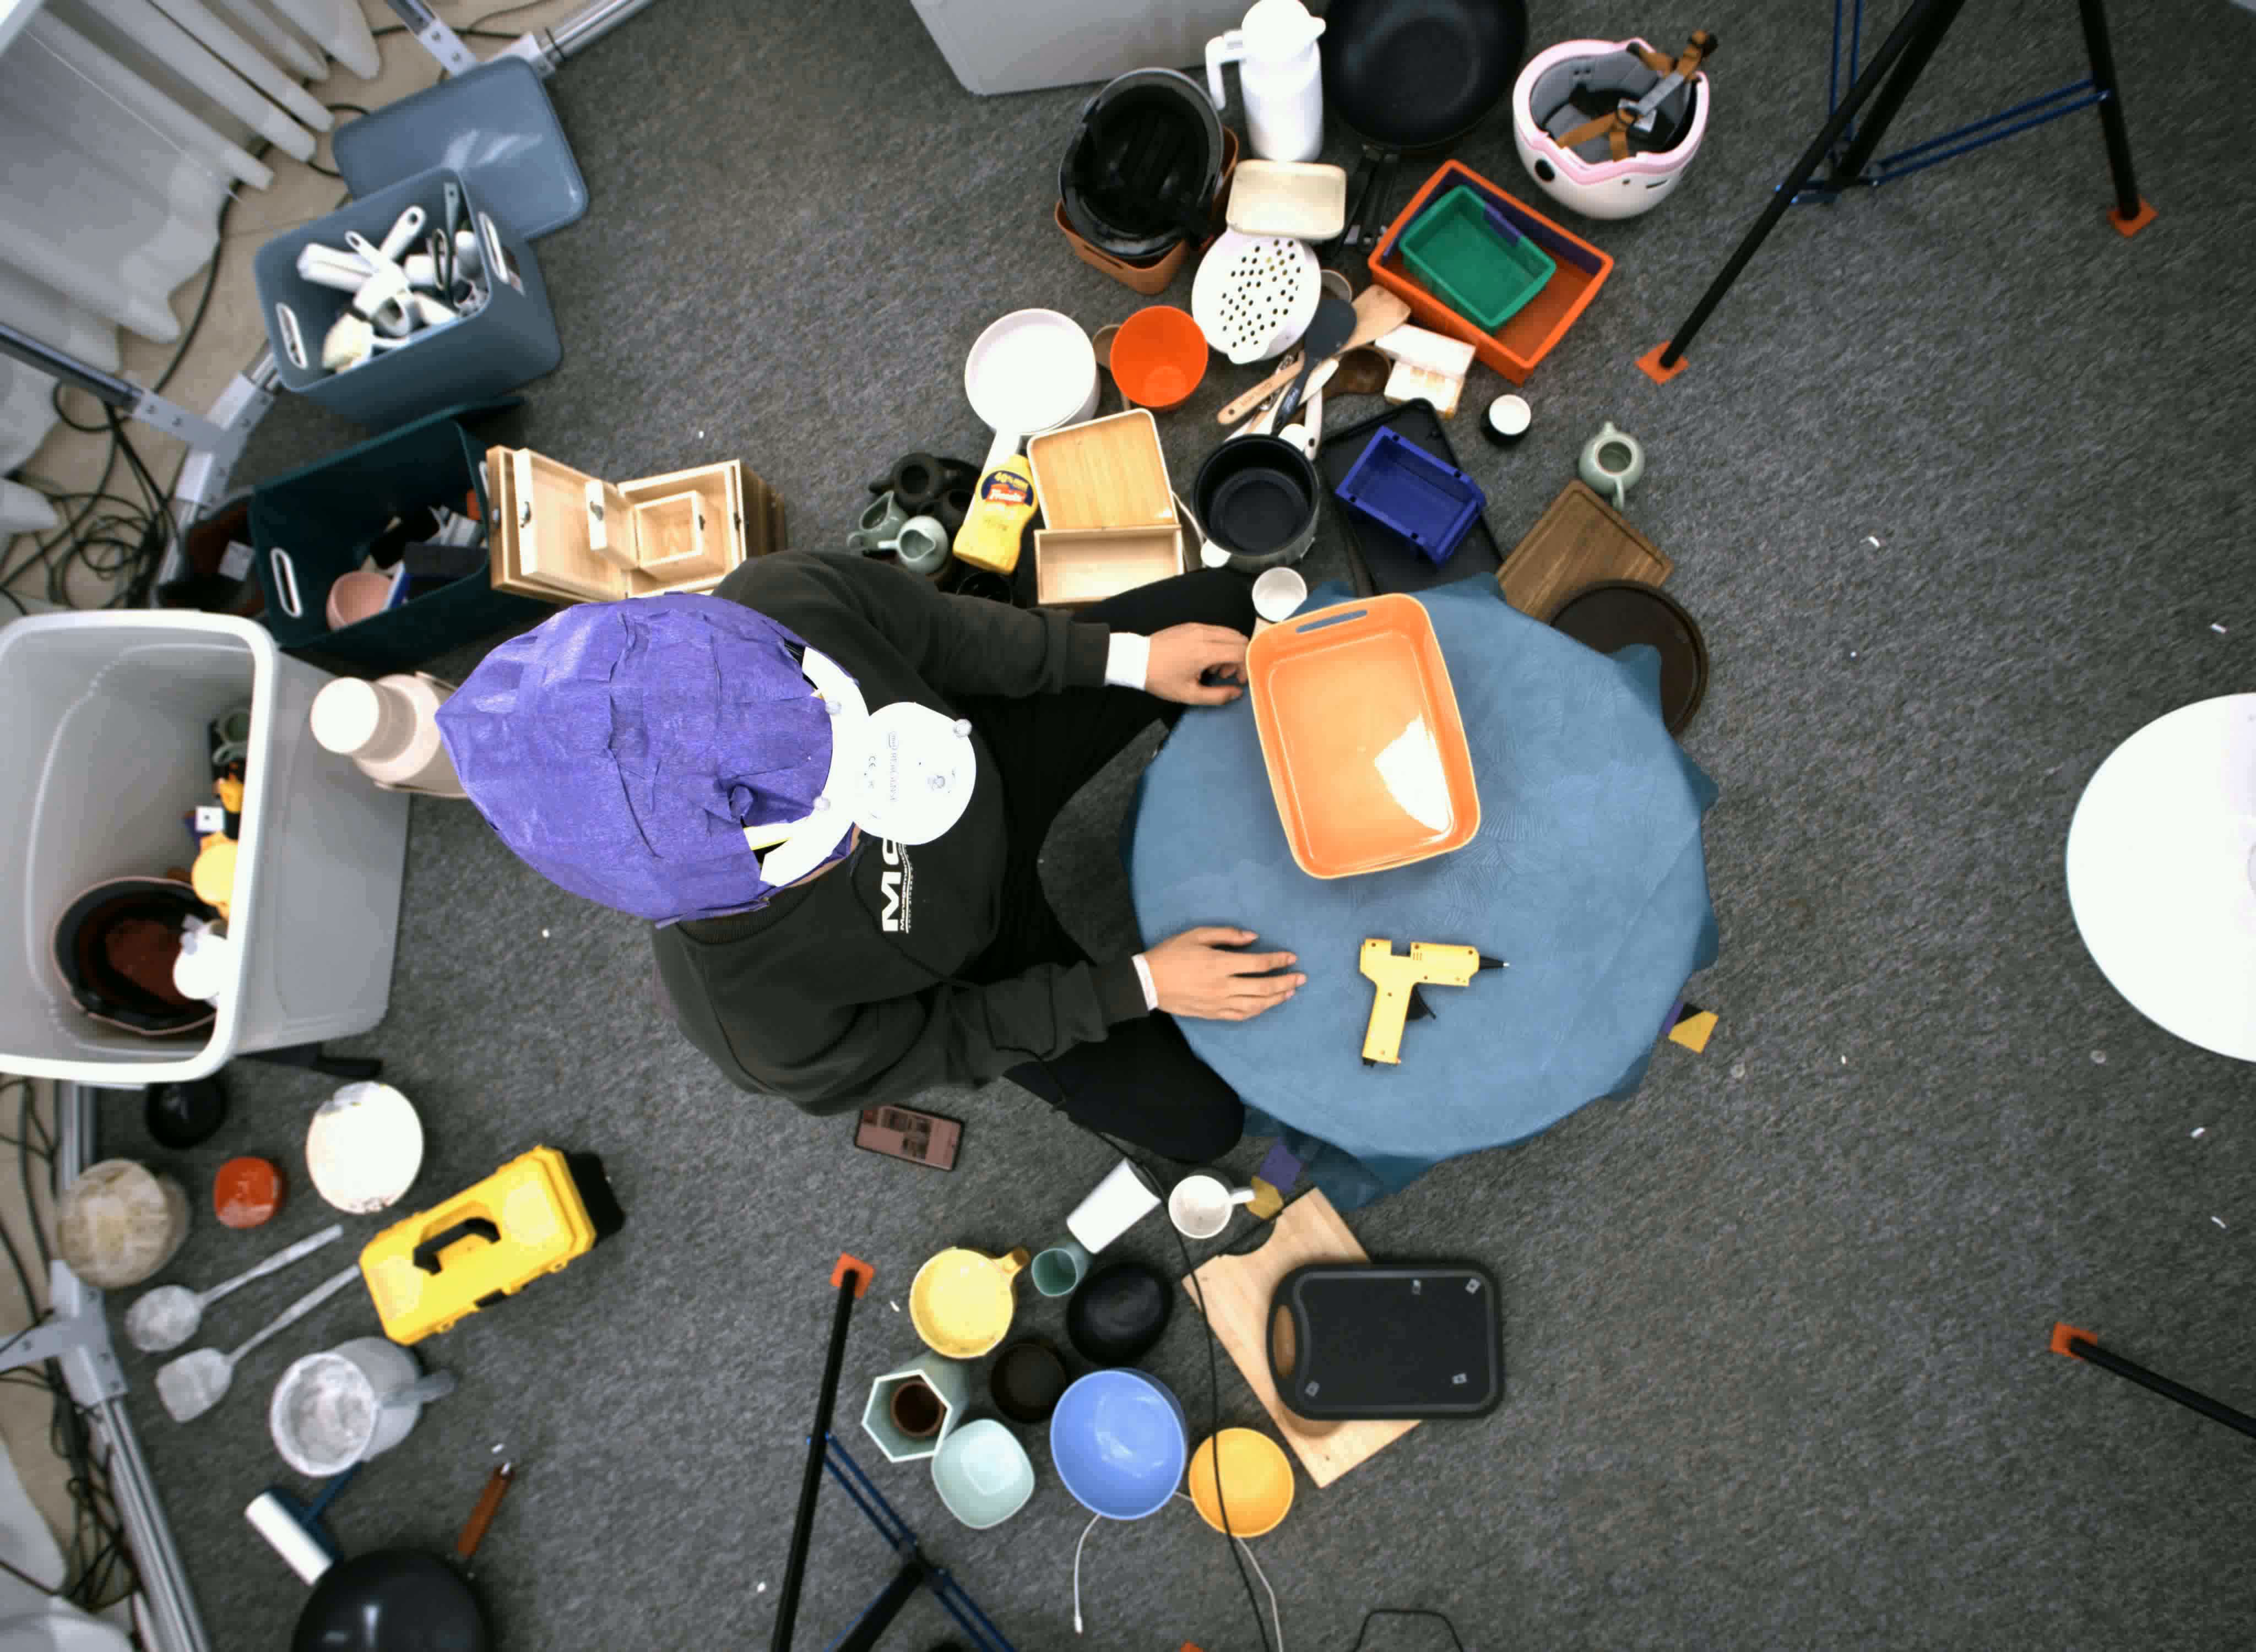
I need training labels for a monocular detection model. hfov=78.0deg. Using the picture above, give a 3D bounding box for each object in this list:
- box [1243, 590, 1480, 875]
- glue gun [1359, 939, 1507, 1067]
[{"bbox_3d":[0.239,-0.089,1.423,0.200,0.102,0.271,-15,84,9],"label":"box"},{"bbox_3d":[0.316,0.181,1.431,0.152,0.031,0.132,-1,88,10],"label":"glue gun"}]
